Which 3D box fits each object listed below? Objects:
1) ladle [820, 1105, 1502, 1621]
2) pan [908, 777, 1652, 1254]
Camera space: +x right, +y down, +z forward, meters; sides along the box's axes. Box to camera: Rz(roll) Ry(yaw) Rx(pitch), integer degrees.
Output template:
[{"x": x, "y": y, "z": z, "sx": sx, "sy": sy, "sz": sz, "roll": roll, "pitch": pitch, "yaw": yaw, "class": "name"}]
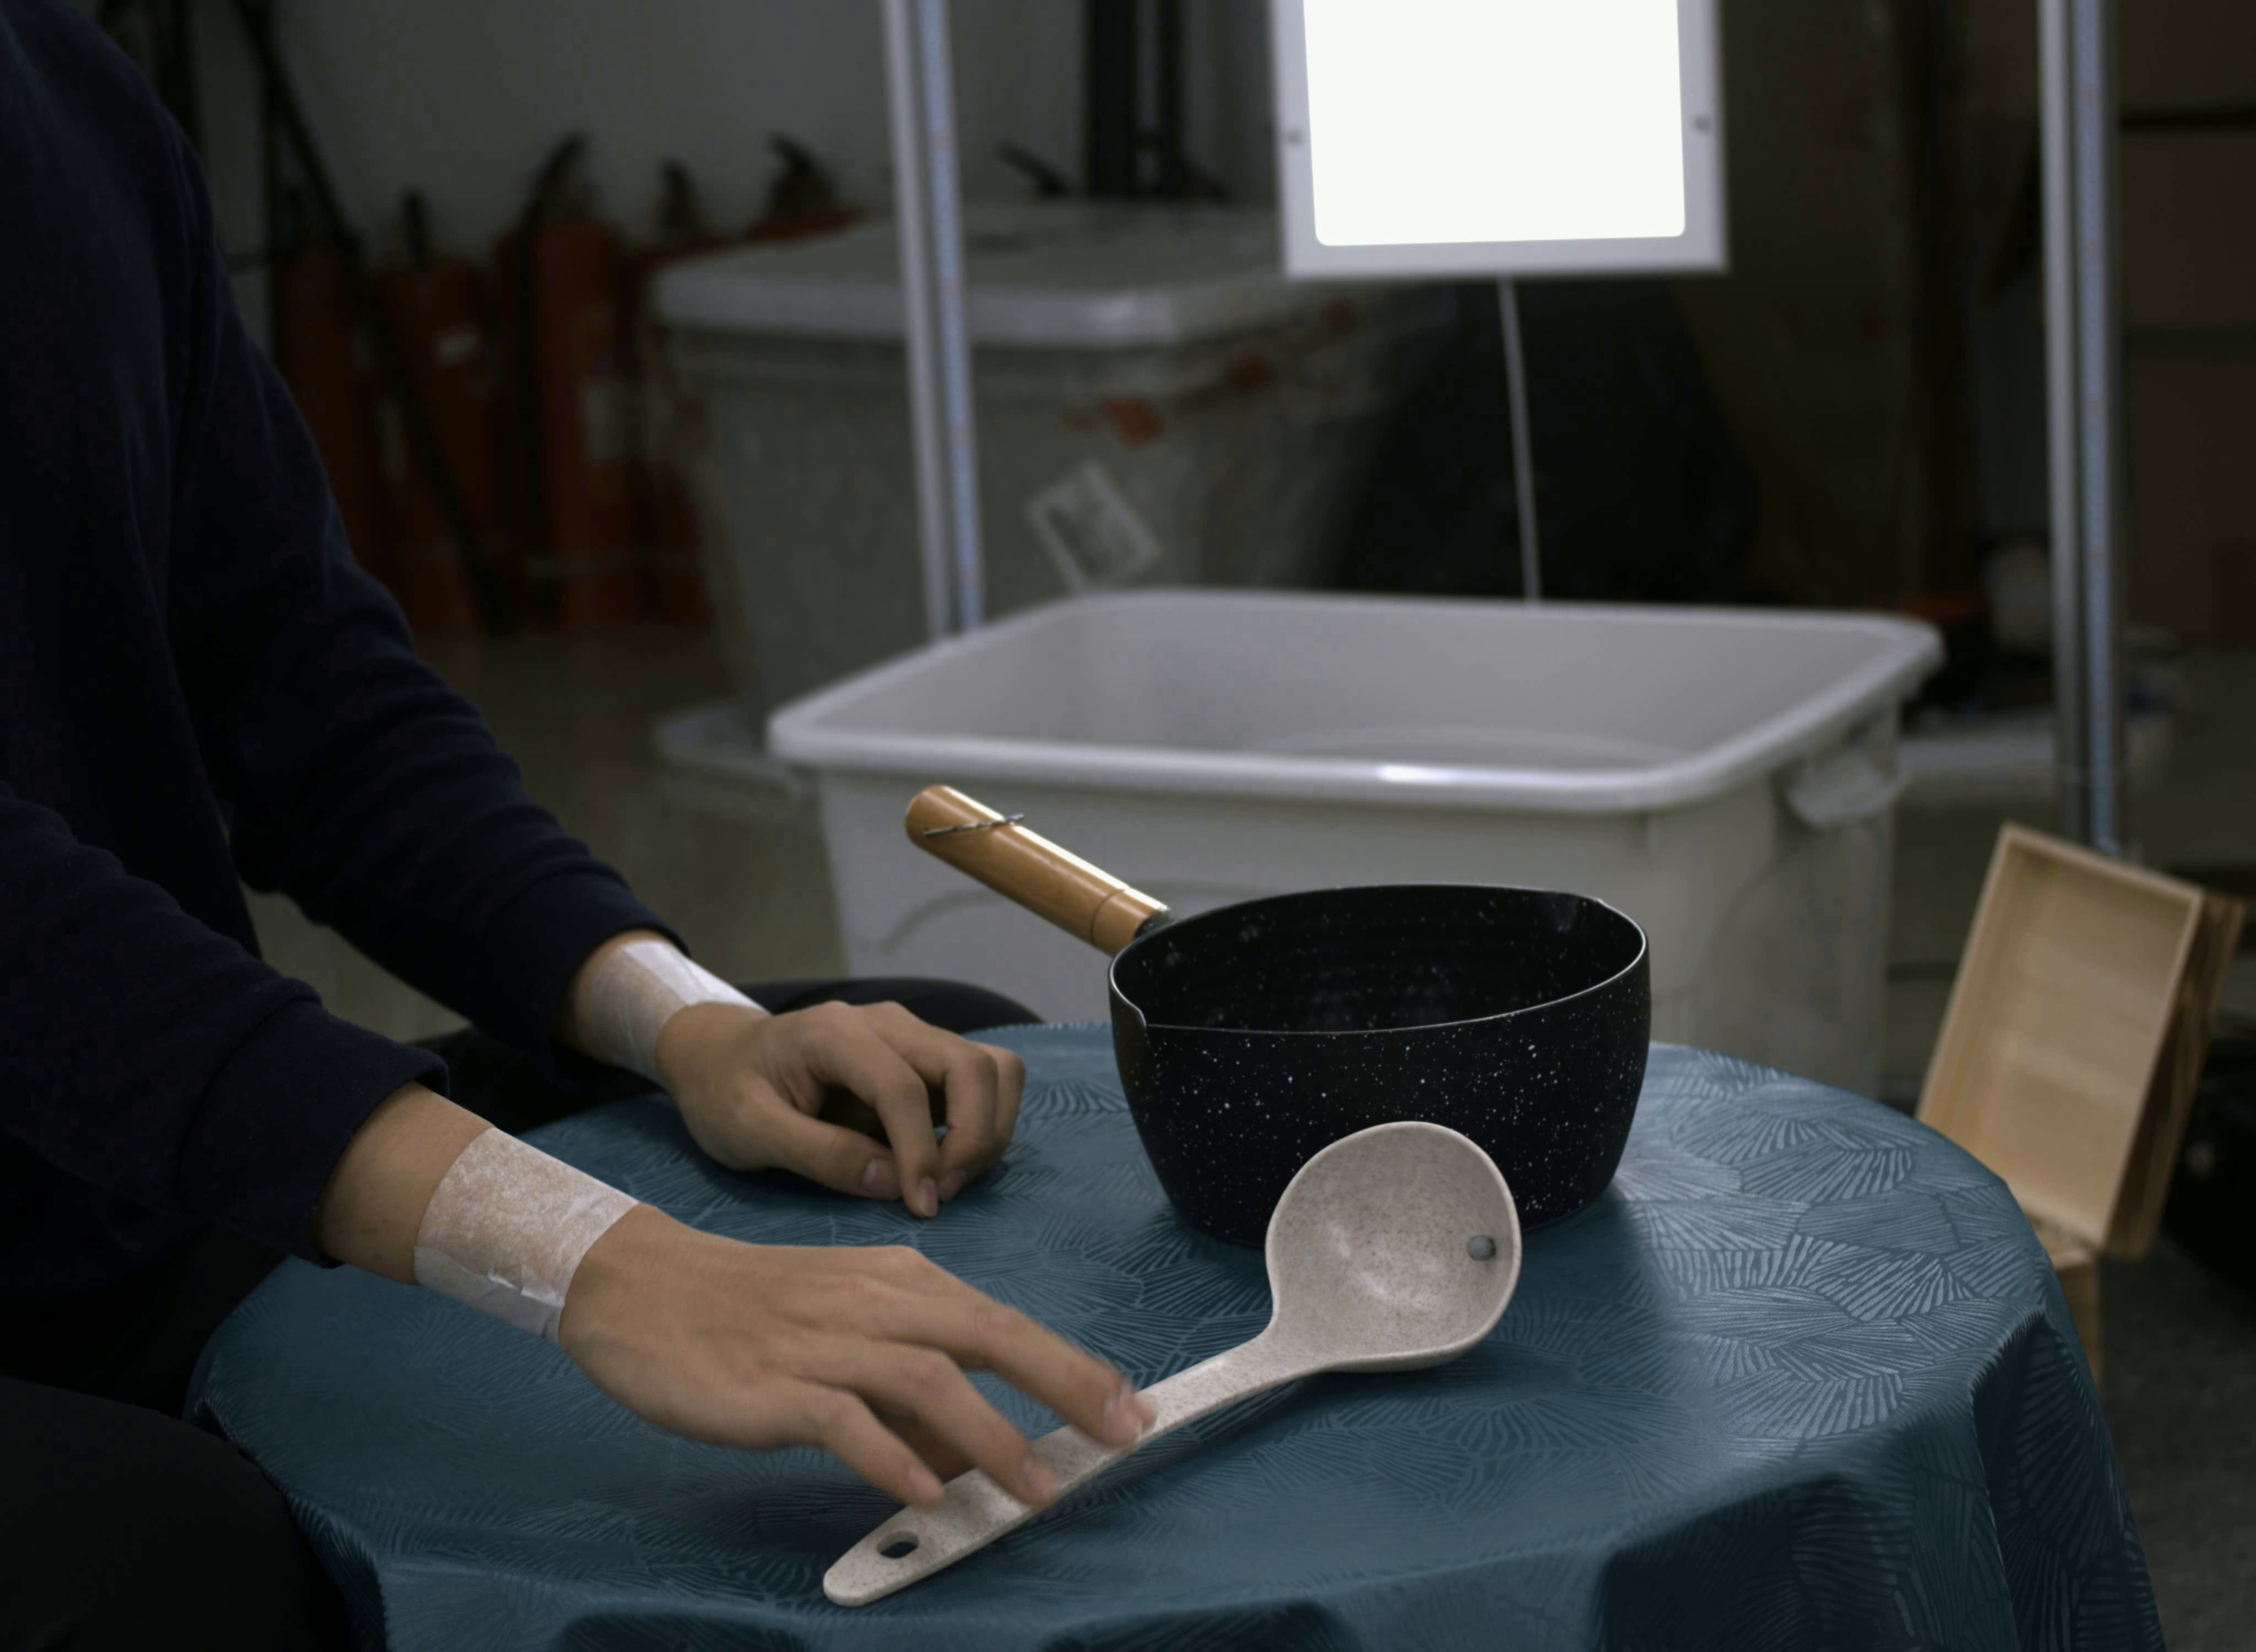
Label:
[{"x": 0.006, "y": 0.154, "z": 1.629, "sx": 0.091, "sy": 0.070, "sz": 0.268, "roll": 15, "pitch": 26, "yaw": 41, "class": "ladle"}, {"x": 0.035, "y": 0.061, "z": 1.924, "sx": 0.202, "sy": 0.108, "sz": 0.350, "roll": -17, "pitch": 20, "yaw": -37, "class": "pan"}]
